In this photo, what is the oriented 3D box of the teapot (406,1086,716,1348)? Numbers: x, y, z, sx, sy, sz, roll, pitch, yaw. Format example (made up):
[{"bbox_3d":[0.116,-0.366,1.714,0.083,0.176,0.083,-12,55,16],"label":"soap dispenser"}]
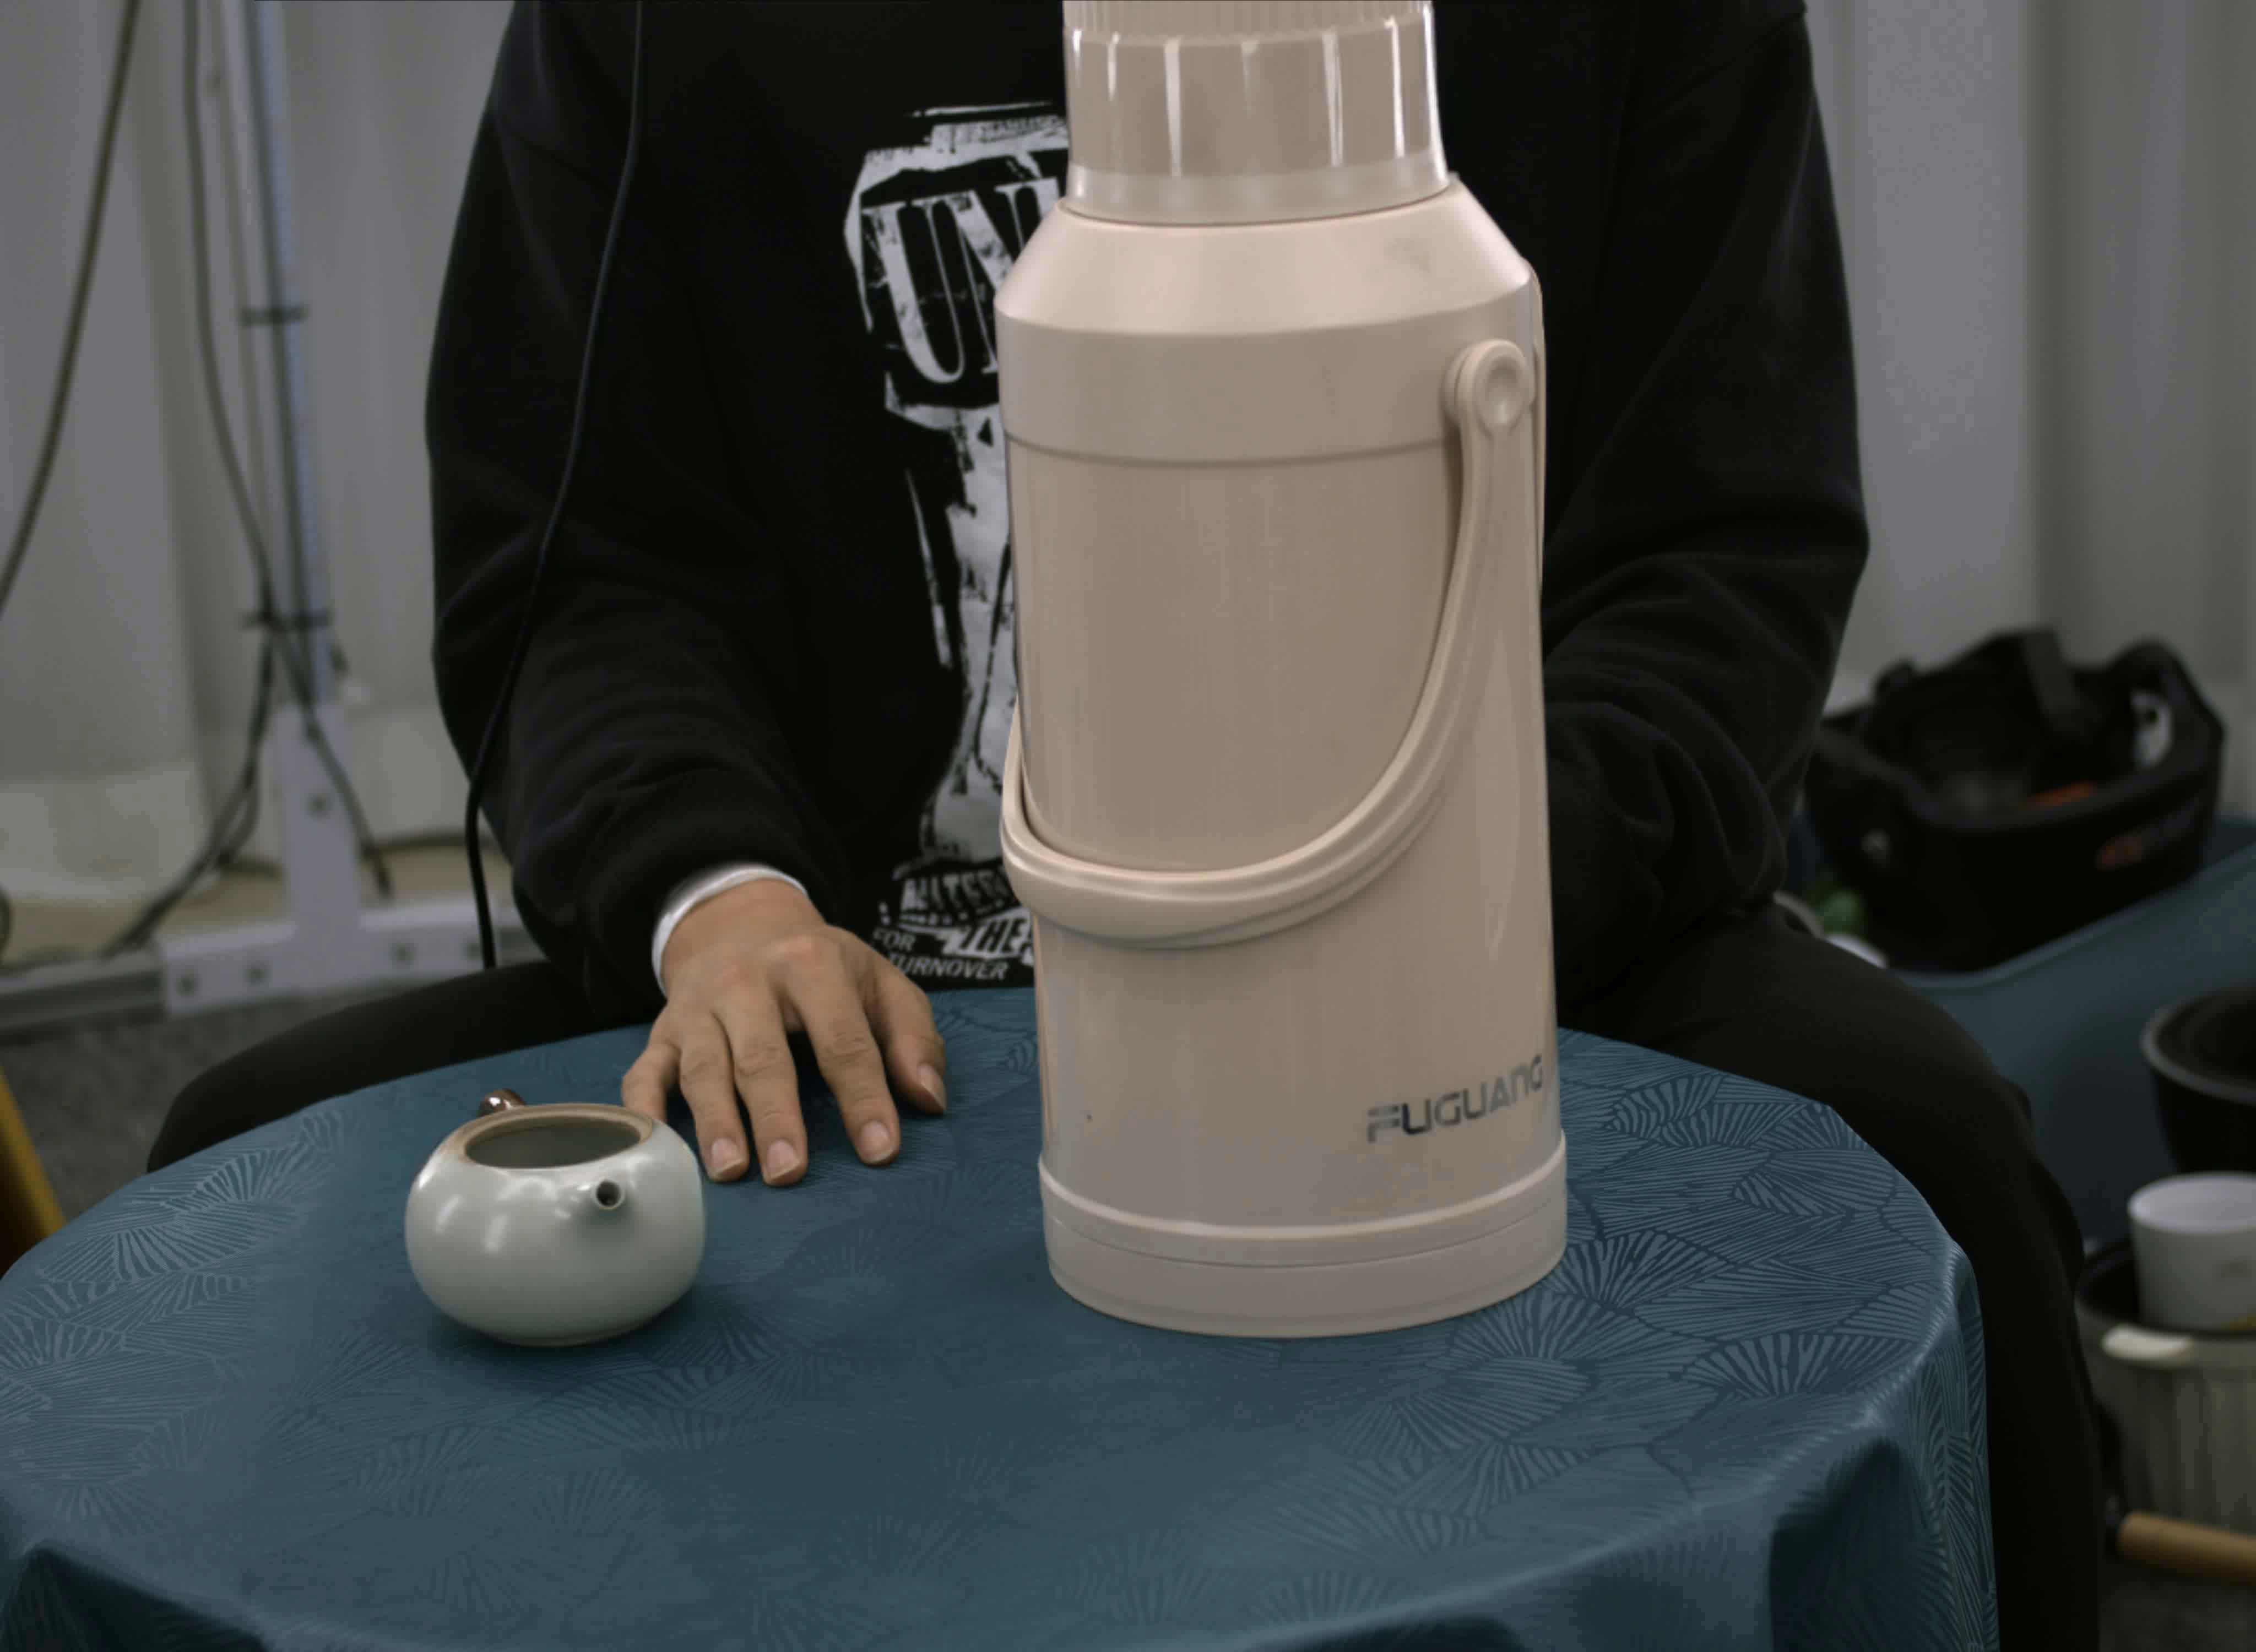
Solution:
[{"bbox_3d":[-0.172,0.116,1.630,0.091,0.059,0.129,-12,18,-23],"label":"teapot"}]

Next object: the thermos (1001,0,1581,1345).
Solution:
[{"bbox_3d":[0.057,-0.065,1.616,0.176,0.405,0.207,7,17,41],"label":"thermos"}]
